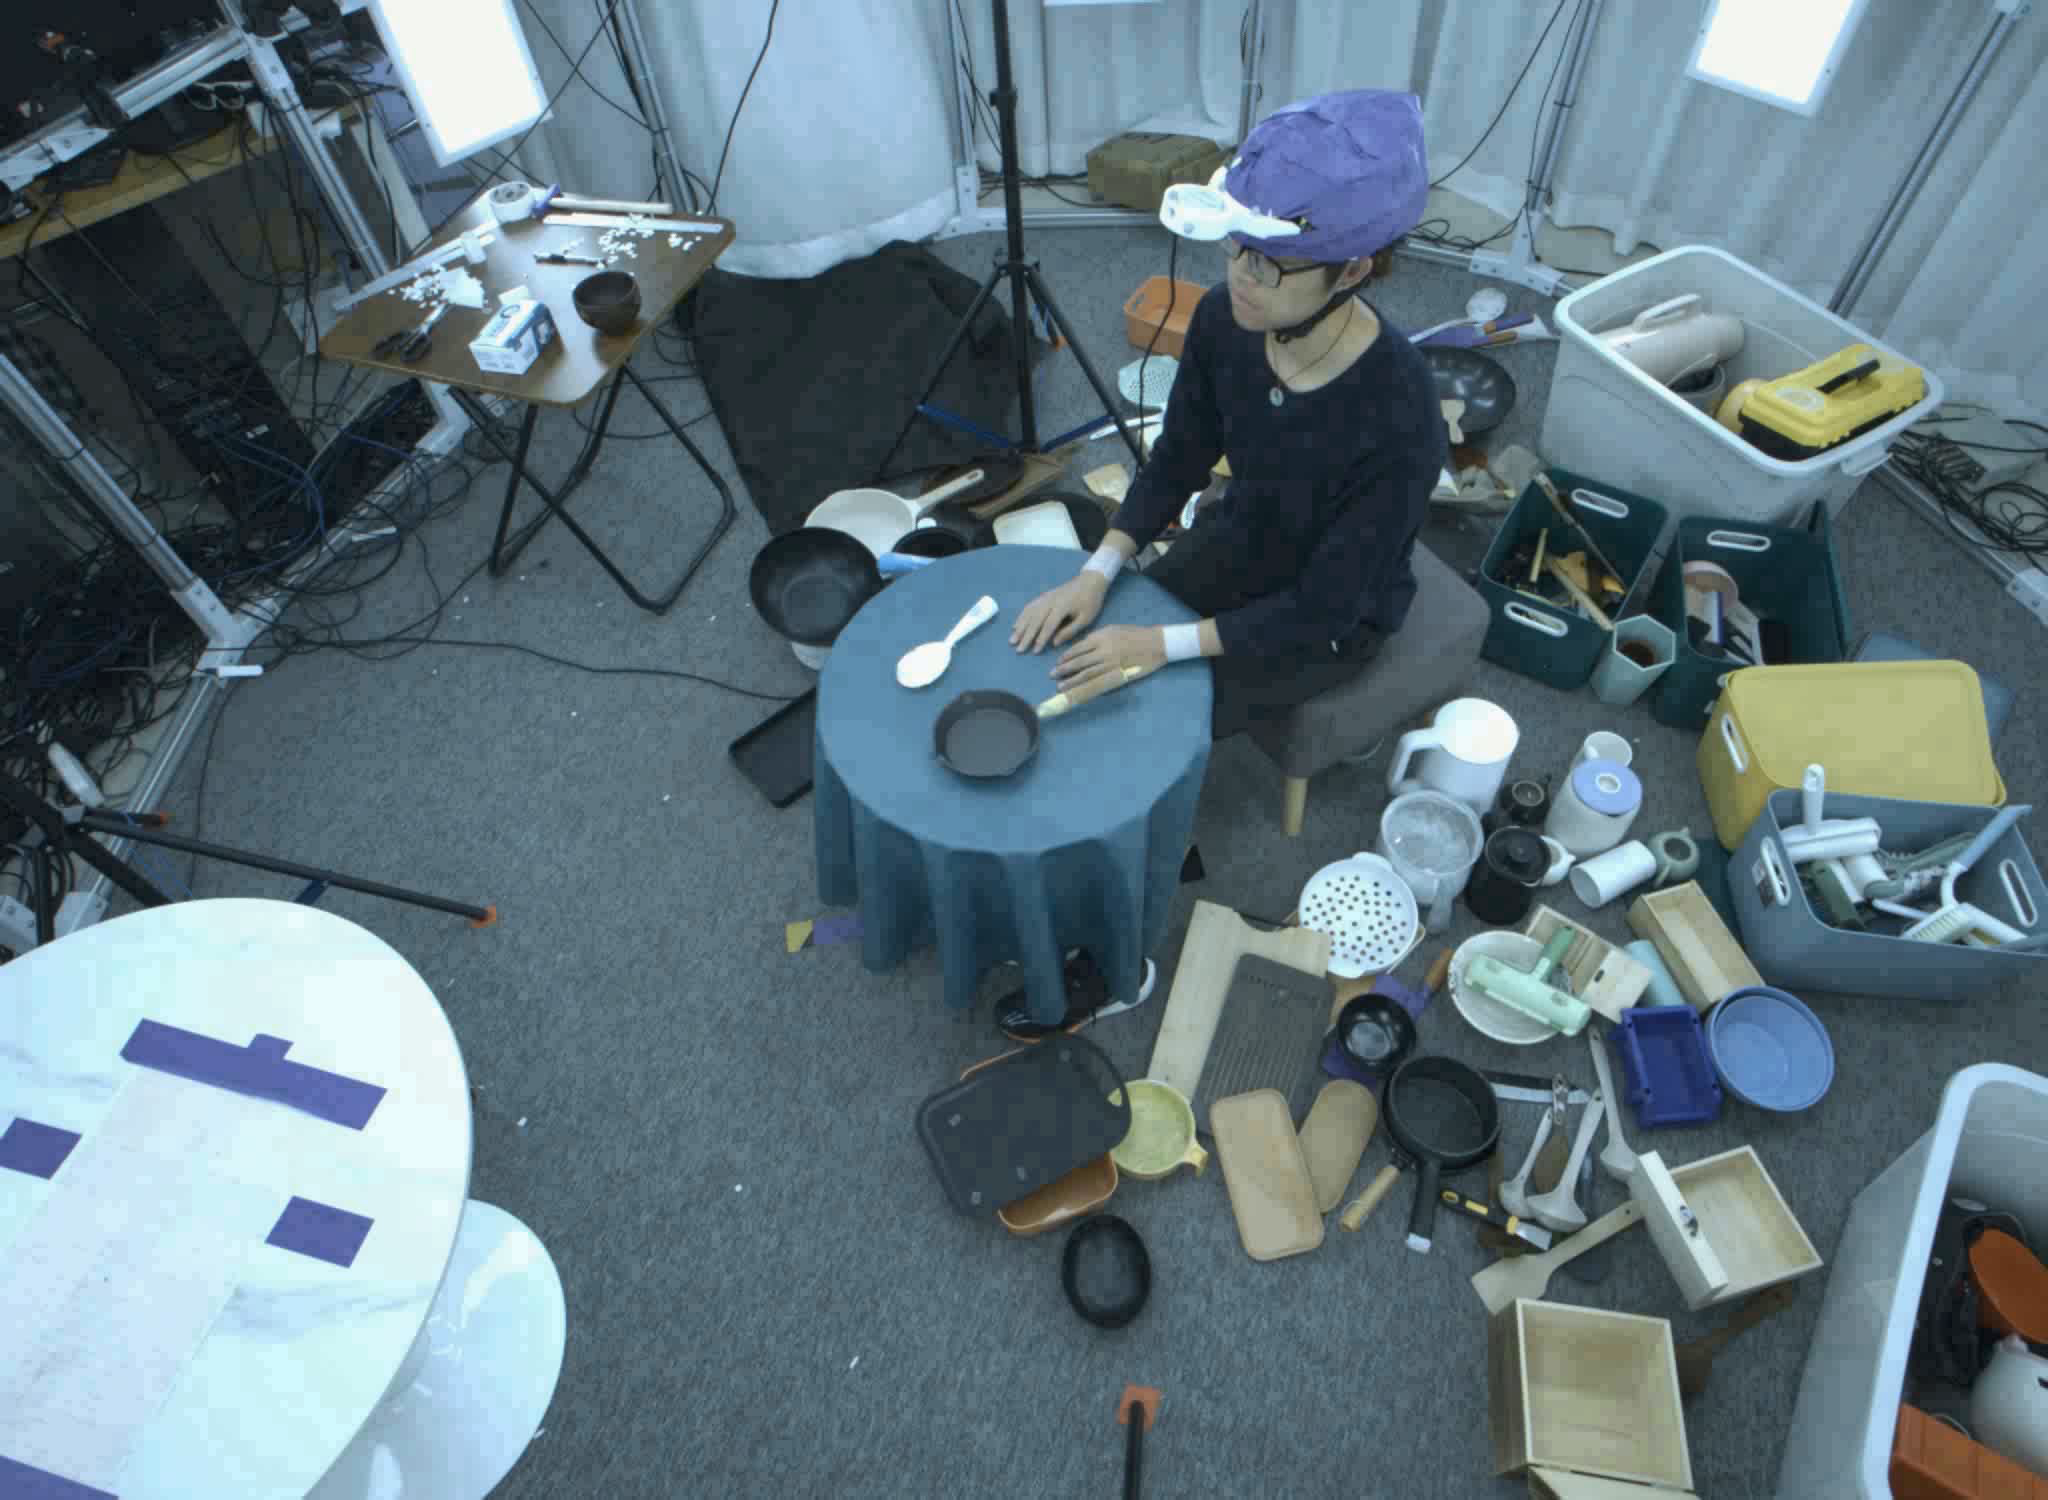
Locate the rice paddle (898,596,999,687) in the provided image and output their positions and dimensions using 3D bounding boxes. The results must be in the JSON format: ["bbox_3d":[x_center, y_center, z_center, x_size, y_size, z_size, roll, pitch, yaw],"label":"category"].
[{"bbox_3d":[-0.116,-0.167,1.891,0.067,0.030,0.206,32,61,25],"label":"rice paddle"}]

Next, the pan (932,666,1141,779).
[{"bbox_3d":[0.024,-0.053,1.792,0.326,0.050,0.166,-21,56,-10],"label":"pan"}]
